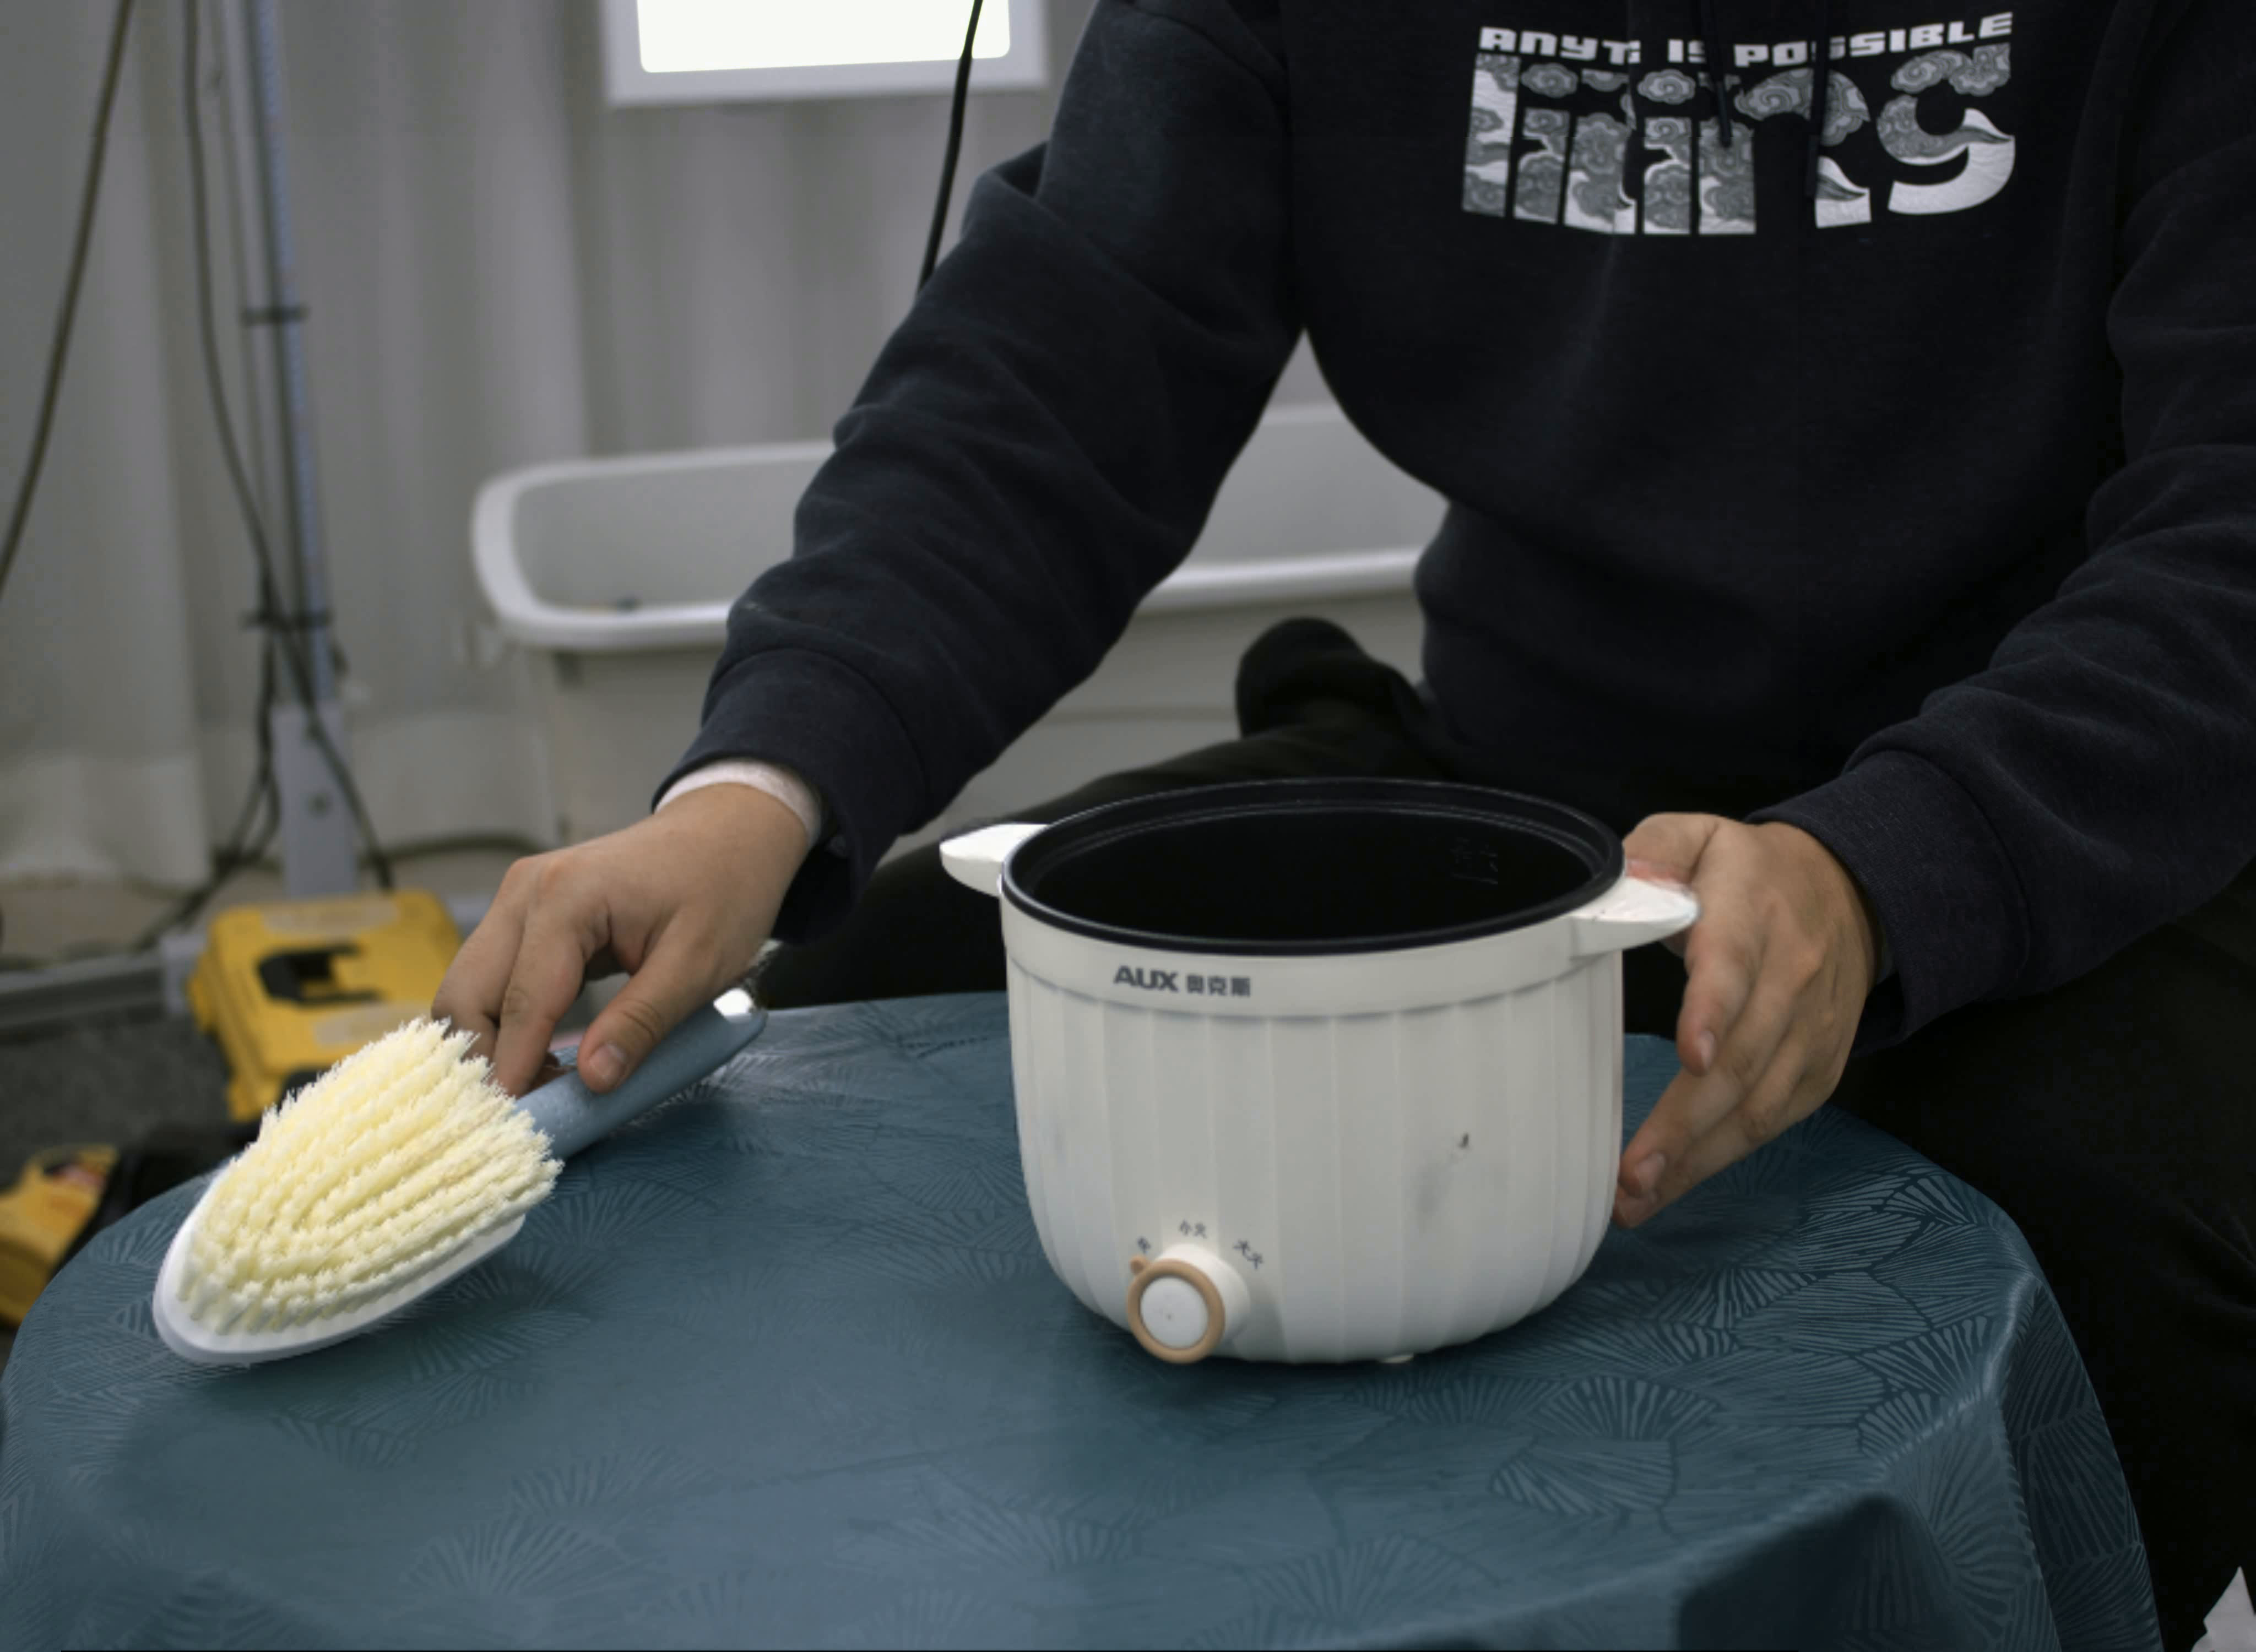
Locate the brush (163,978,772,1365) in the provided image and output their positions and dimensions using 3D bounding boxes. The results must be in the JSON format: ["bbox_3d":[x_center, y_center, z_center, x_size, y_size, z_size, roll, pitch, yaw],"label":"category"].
[{"bbox_3d":[-0.186,0.083,1.709,0.084,0.083,0.326,-1,15,29],"label":"brush"}]

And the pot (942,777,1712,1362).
[{"bbox_3d":[0.055,0.074,1.593,0.241,0.142,0.190,4,13,26],"label":"pot"}]
